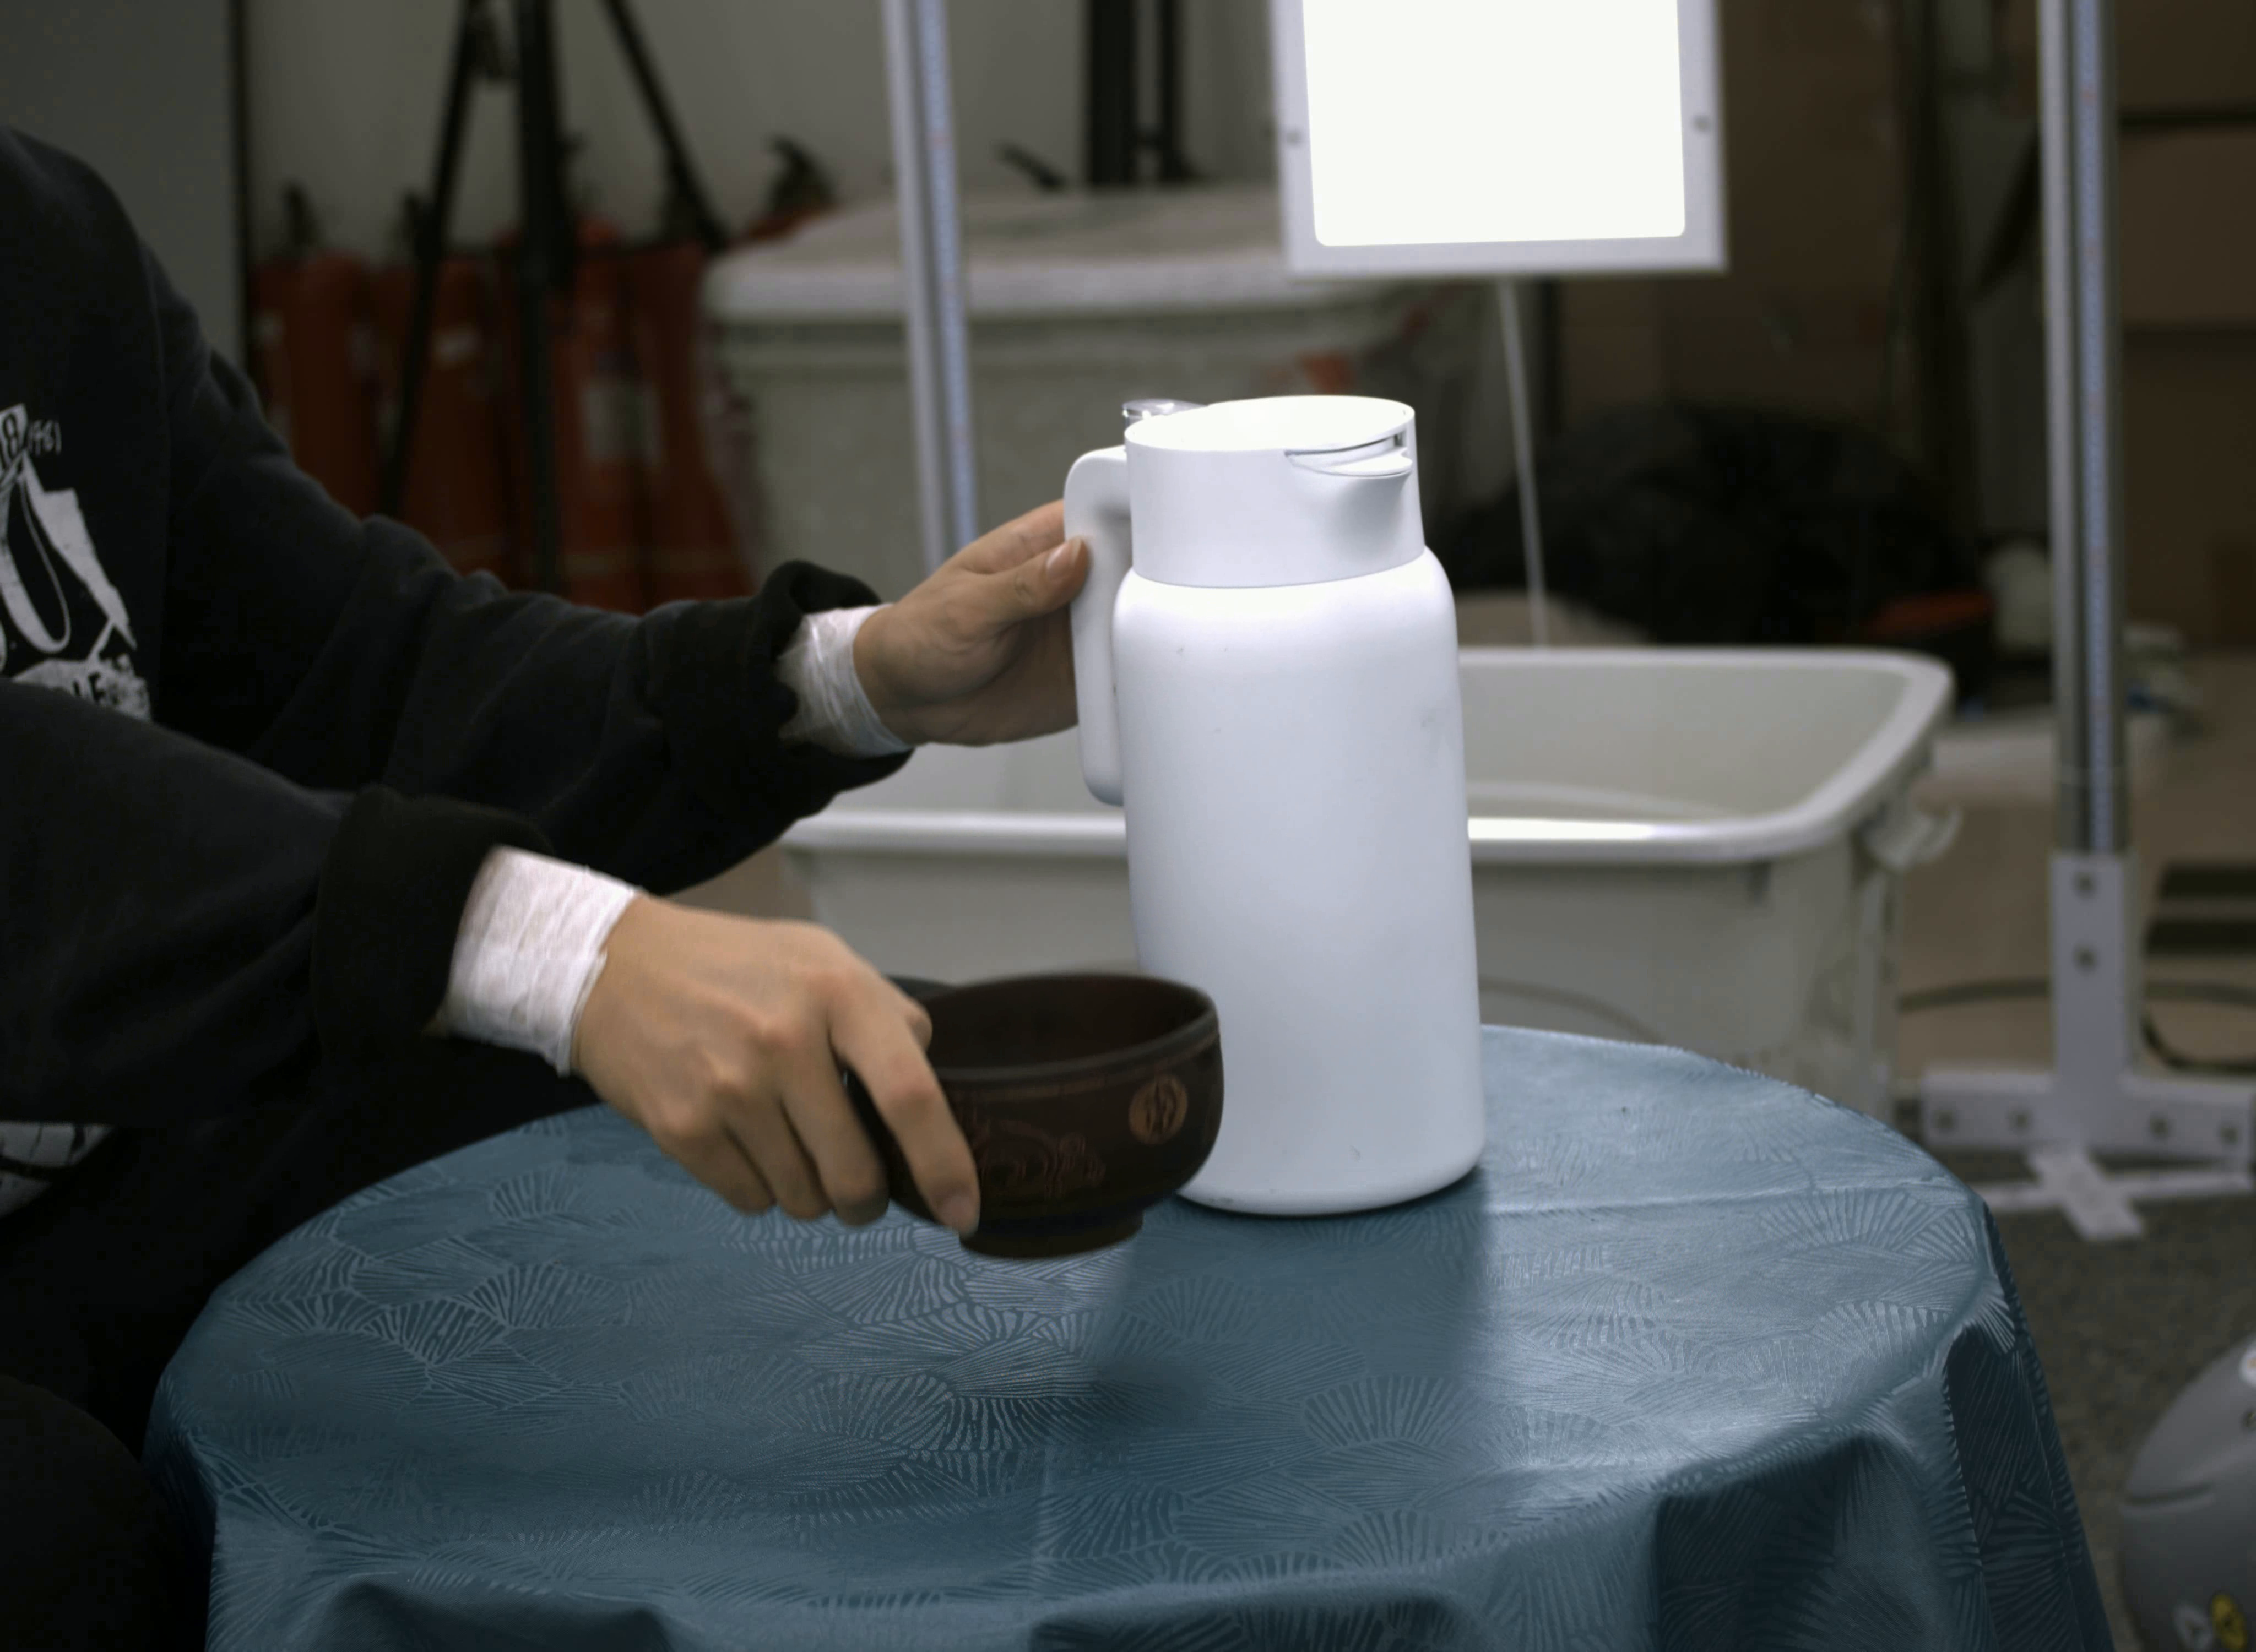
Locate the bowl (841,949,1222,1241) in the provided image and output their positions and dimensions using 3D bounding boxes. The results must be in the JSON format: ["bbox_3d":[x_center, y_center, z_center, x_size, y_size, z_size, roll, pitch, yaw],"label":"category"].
[{"bbox_3d":[-0.028,0.086,1.690,0.118,0.070,0.118,-5,13,0],"label":"bowl"}]

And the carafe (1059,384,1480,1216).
[{"bbox_3d":[0.044,-0.011,1.883,0.121,0.270,0.176,-17,19,-35],"label":"carafe"}]
